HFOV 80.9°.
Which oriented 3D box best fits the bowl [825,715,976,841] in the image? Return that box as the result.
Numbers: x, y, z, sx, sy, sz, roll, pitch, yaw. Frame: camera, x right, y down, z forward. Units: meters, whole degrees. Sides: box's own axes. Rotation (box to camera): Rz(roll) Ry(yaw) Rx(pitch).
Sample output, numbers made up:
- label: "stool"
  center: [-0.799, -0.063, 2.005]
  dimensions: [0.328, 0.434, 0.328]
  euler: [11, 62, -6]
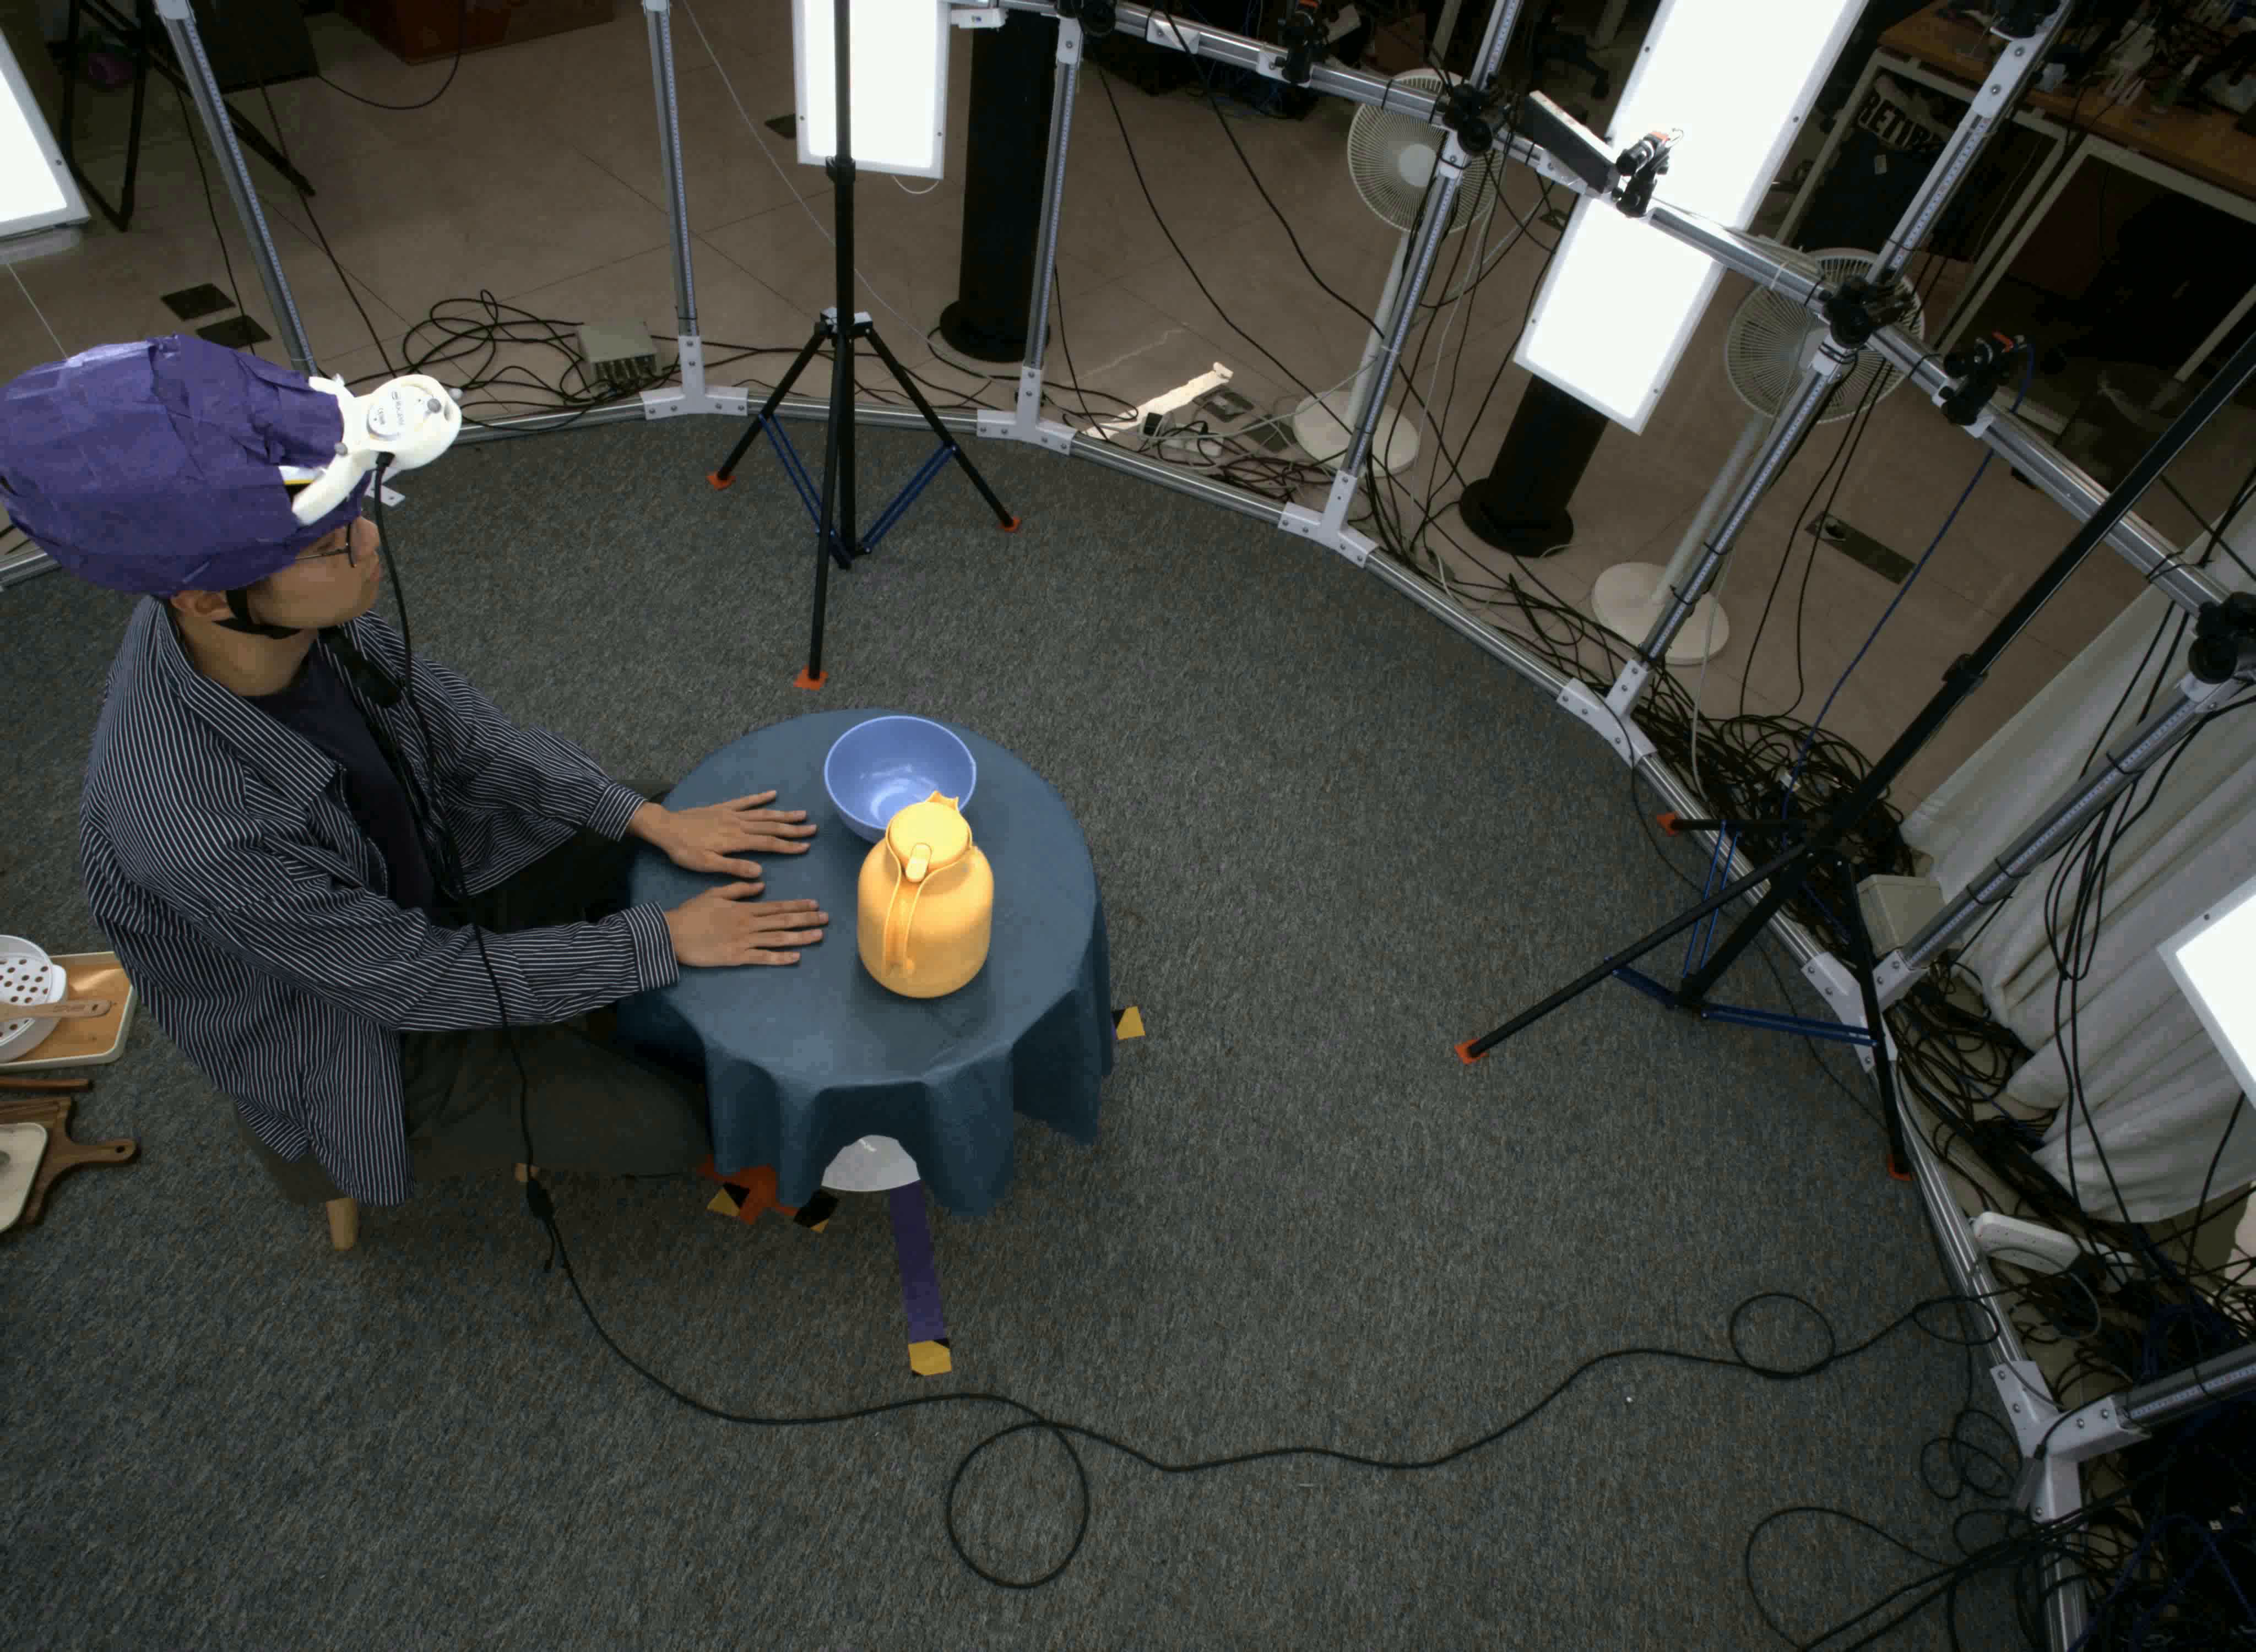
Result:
- label: "bowl"
  center: [-0.304, -0.043, 1.741]
  dimensions: [0.196, 0.097, 0.193]
  euler: [7, 52, -8]

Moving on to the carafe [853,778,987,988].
- label: "carafe"
  center: [-0.255, 0.082, 1.553]
  dimensions: [0.162, 0.266, 0.200]
  euler: [14, 52, 0]
